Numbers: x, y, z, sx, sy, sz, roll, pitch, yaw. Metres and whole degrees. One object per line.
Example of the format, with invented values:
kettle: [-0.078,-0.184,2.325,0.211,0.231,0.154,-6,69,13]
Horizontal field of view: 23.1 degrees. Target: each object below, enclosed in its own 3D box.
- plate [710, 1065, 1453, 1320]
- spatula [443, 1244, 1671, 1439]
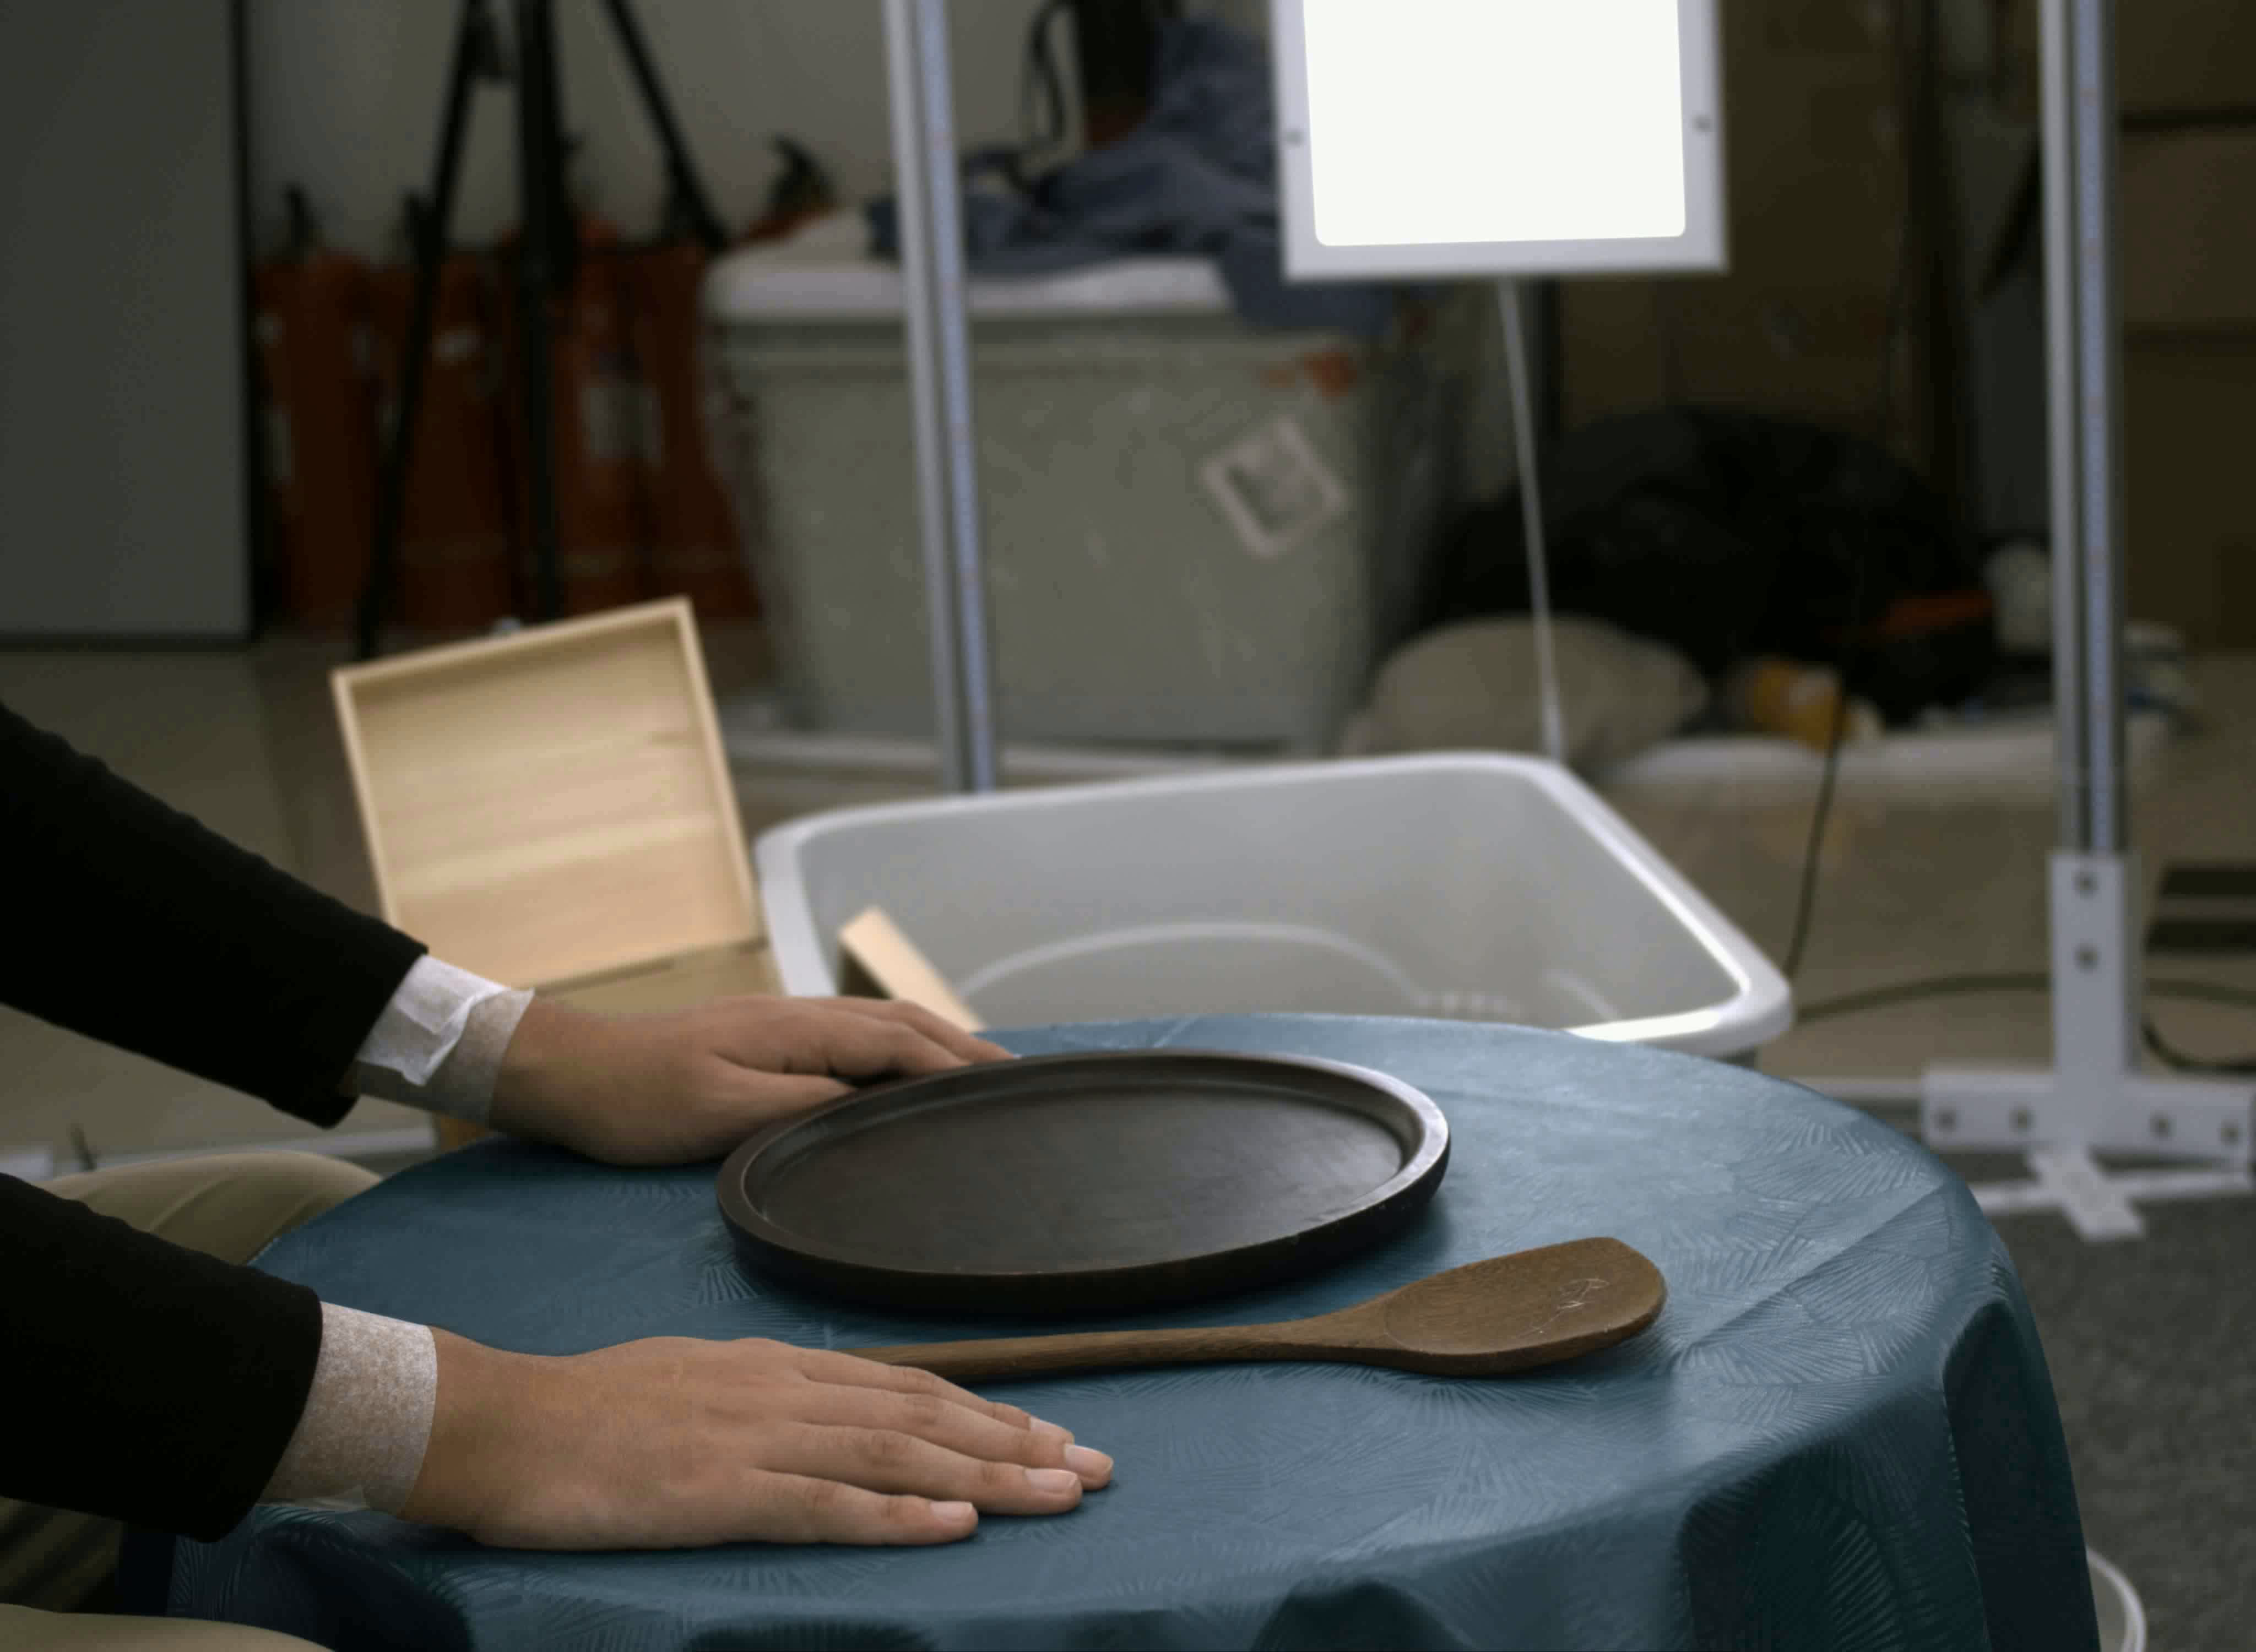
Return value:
plate: [-0.015,0.122,1.877,0.254,0.029,0.254,-4,14,0]
spatula: [-0.022,0.165,1.720,0.385,0.016,0.096,-5,13,1]
